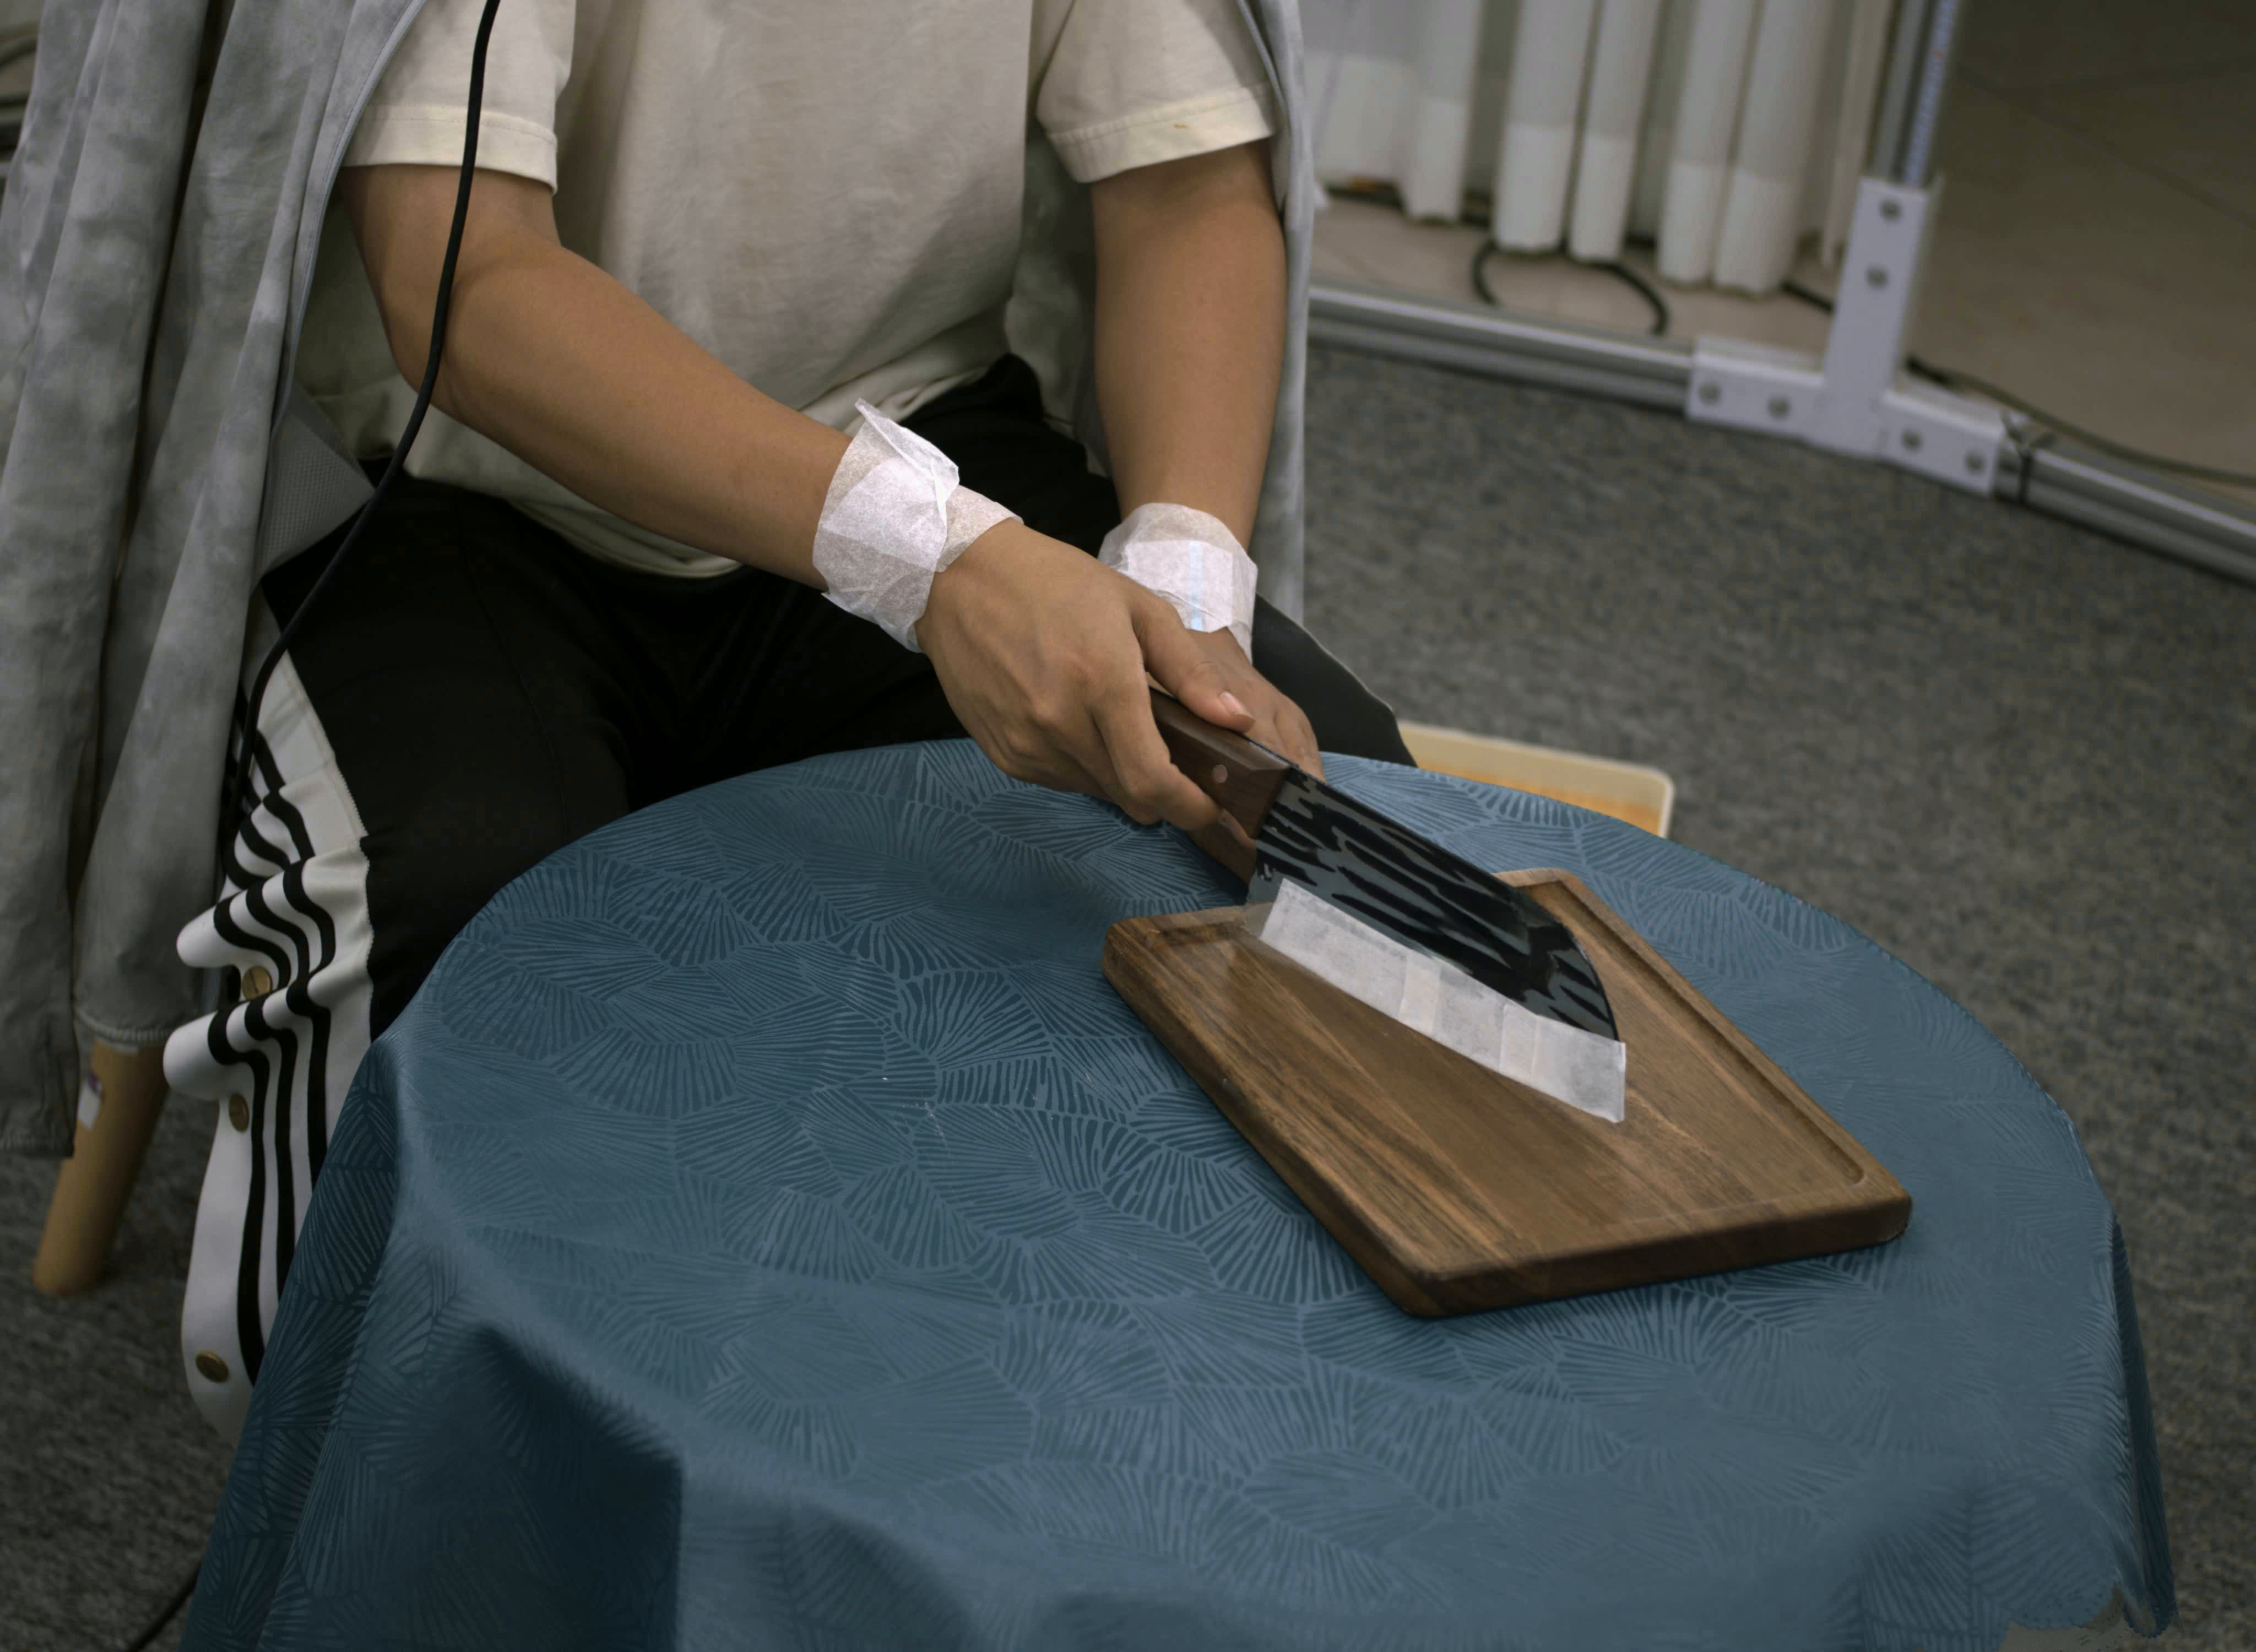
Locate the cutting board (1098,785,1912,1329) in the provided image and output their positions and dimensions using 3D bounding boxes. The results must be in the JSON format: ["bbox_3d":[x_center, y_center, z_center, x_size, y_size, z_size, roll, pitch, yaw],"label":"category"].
[{"bbox_3d":[0.108,0.068,1.920,0.200,0.023,0.355,-9,30,-24],"label":"cutting board"}]

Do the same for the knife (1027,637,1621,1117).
[{"bbox_3d":[0.068,0.017,1.916,0.302,0.068,0.024,31,26,34],"label":"knife"}]
